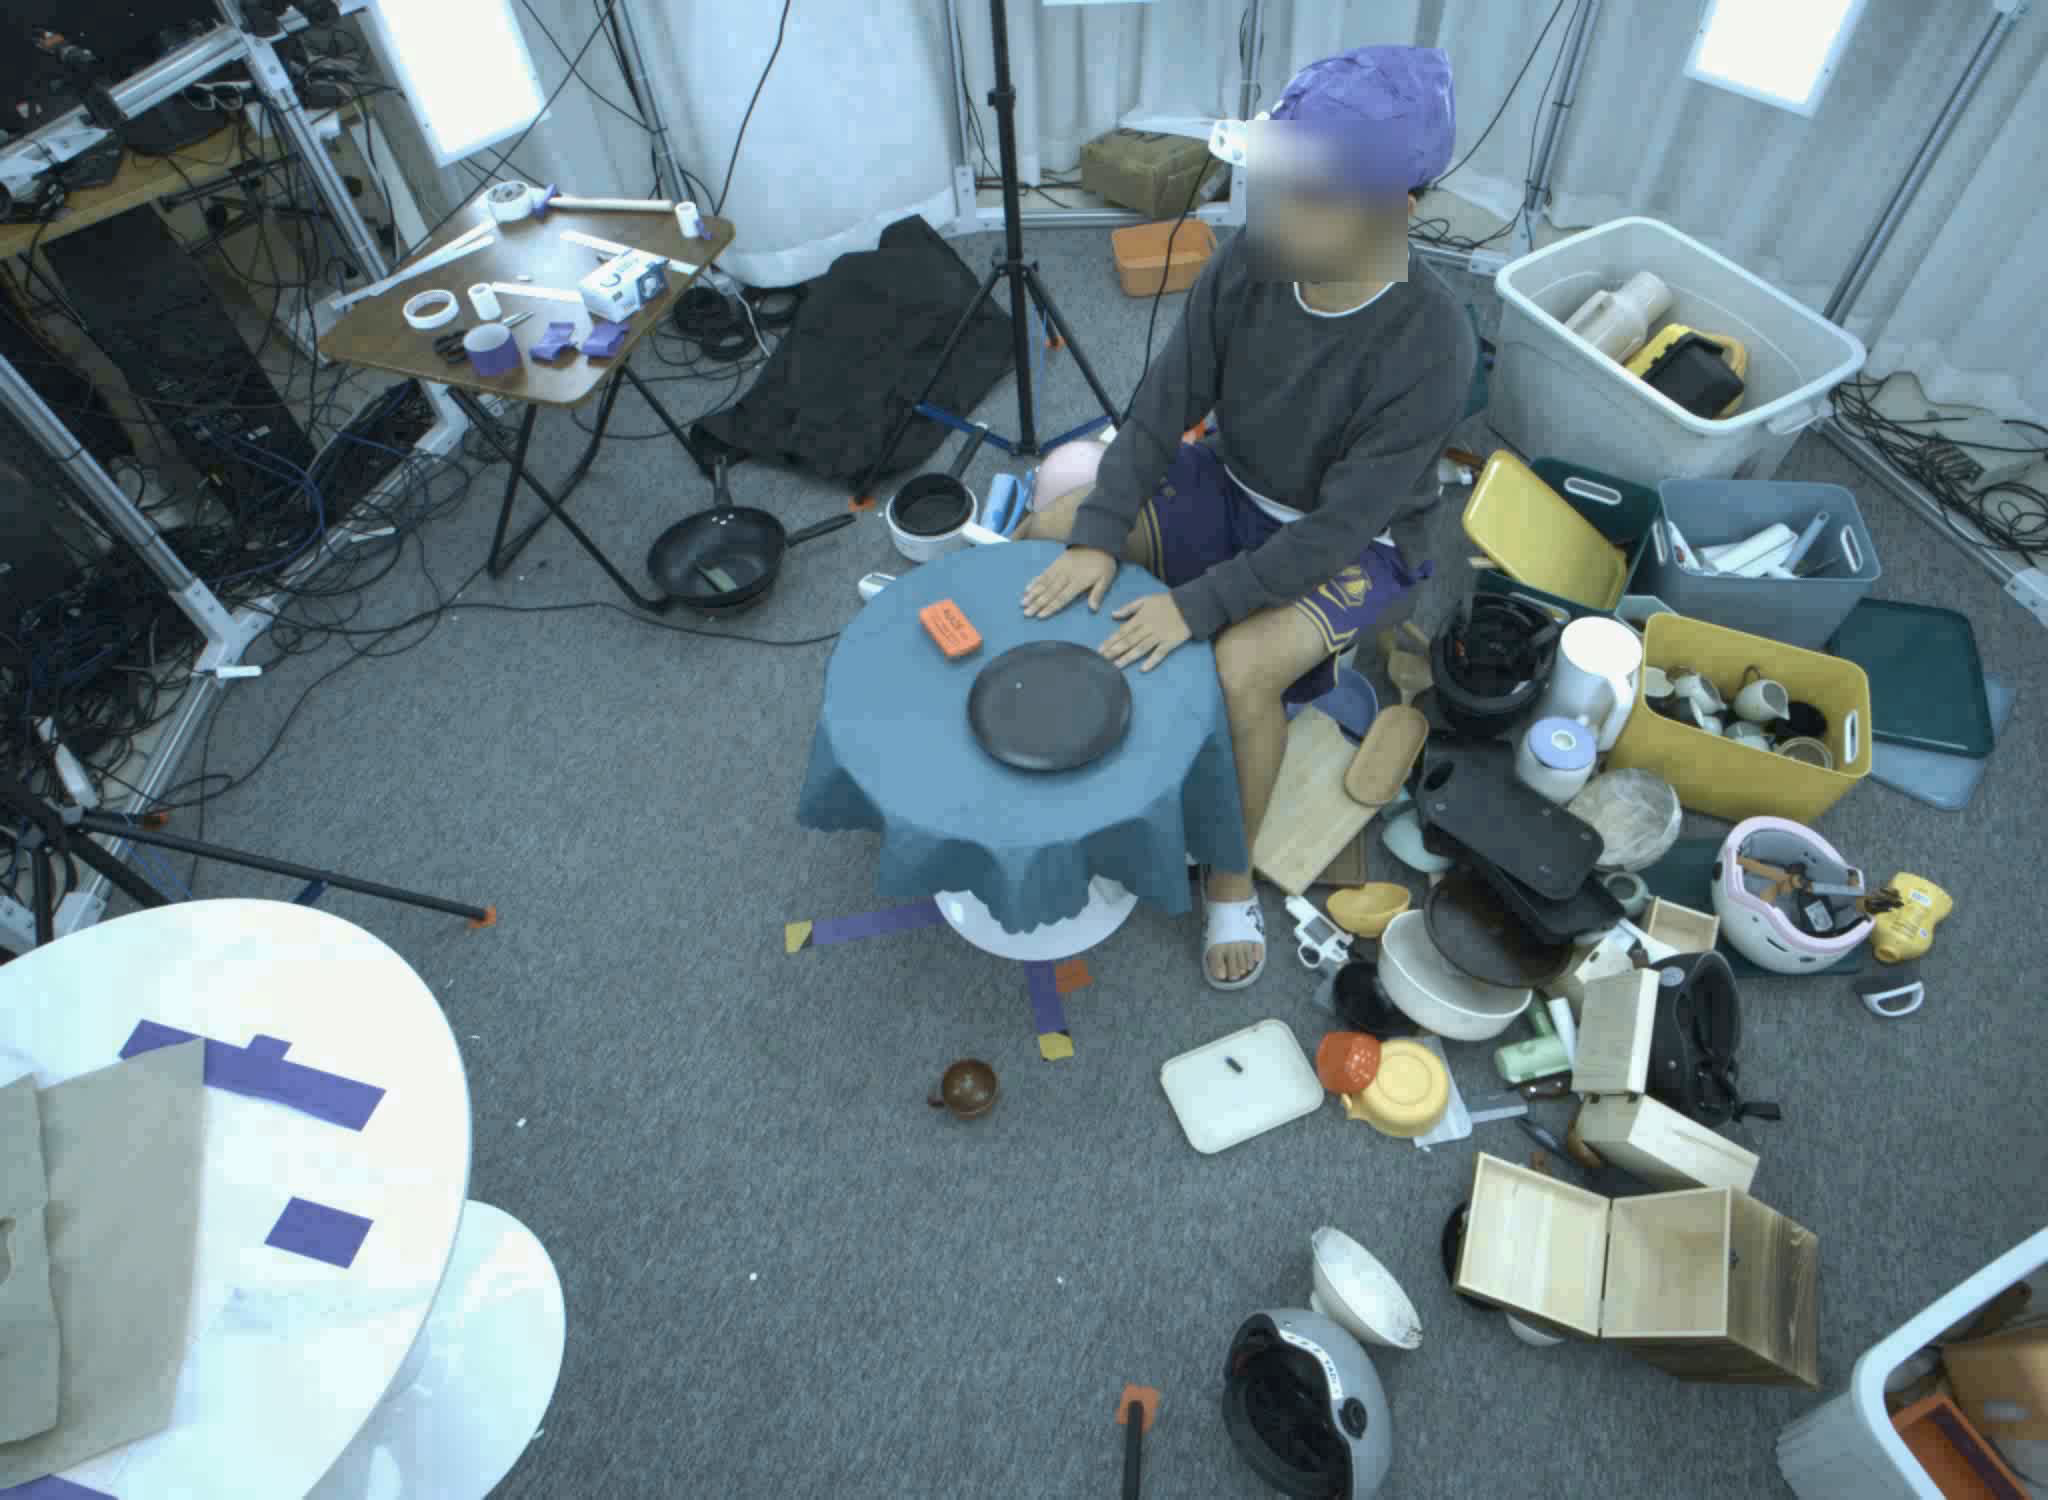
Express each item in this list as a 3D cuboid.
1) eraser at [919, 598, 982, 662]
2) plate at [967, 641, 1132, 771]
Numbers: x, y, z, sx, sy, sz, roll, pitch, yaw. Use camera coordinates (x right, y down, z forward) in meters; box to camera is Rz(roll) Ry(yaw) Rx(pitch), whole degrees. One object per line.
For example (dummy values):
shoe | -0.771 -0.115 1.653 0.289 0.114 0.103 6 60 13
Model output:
eraser | -0.115 -0.188 1.909 0.059 0.023 0.106 -29 60 -16
plate | 0.037 -0.064 1.820 0.244 0.023 0.242 0 54 2
